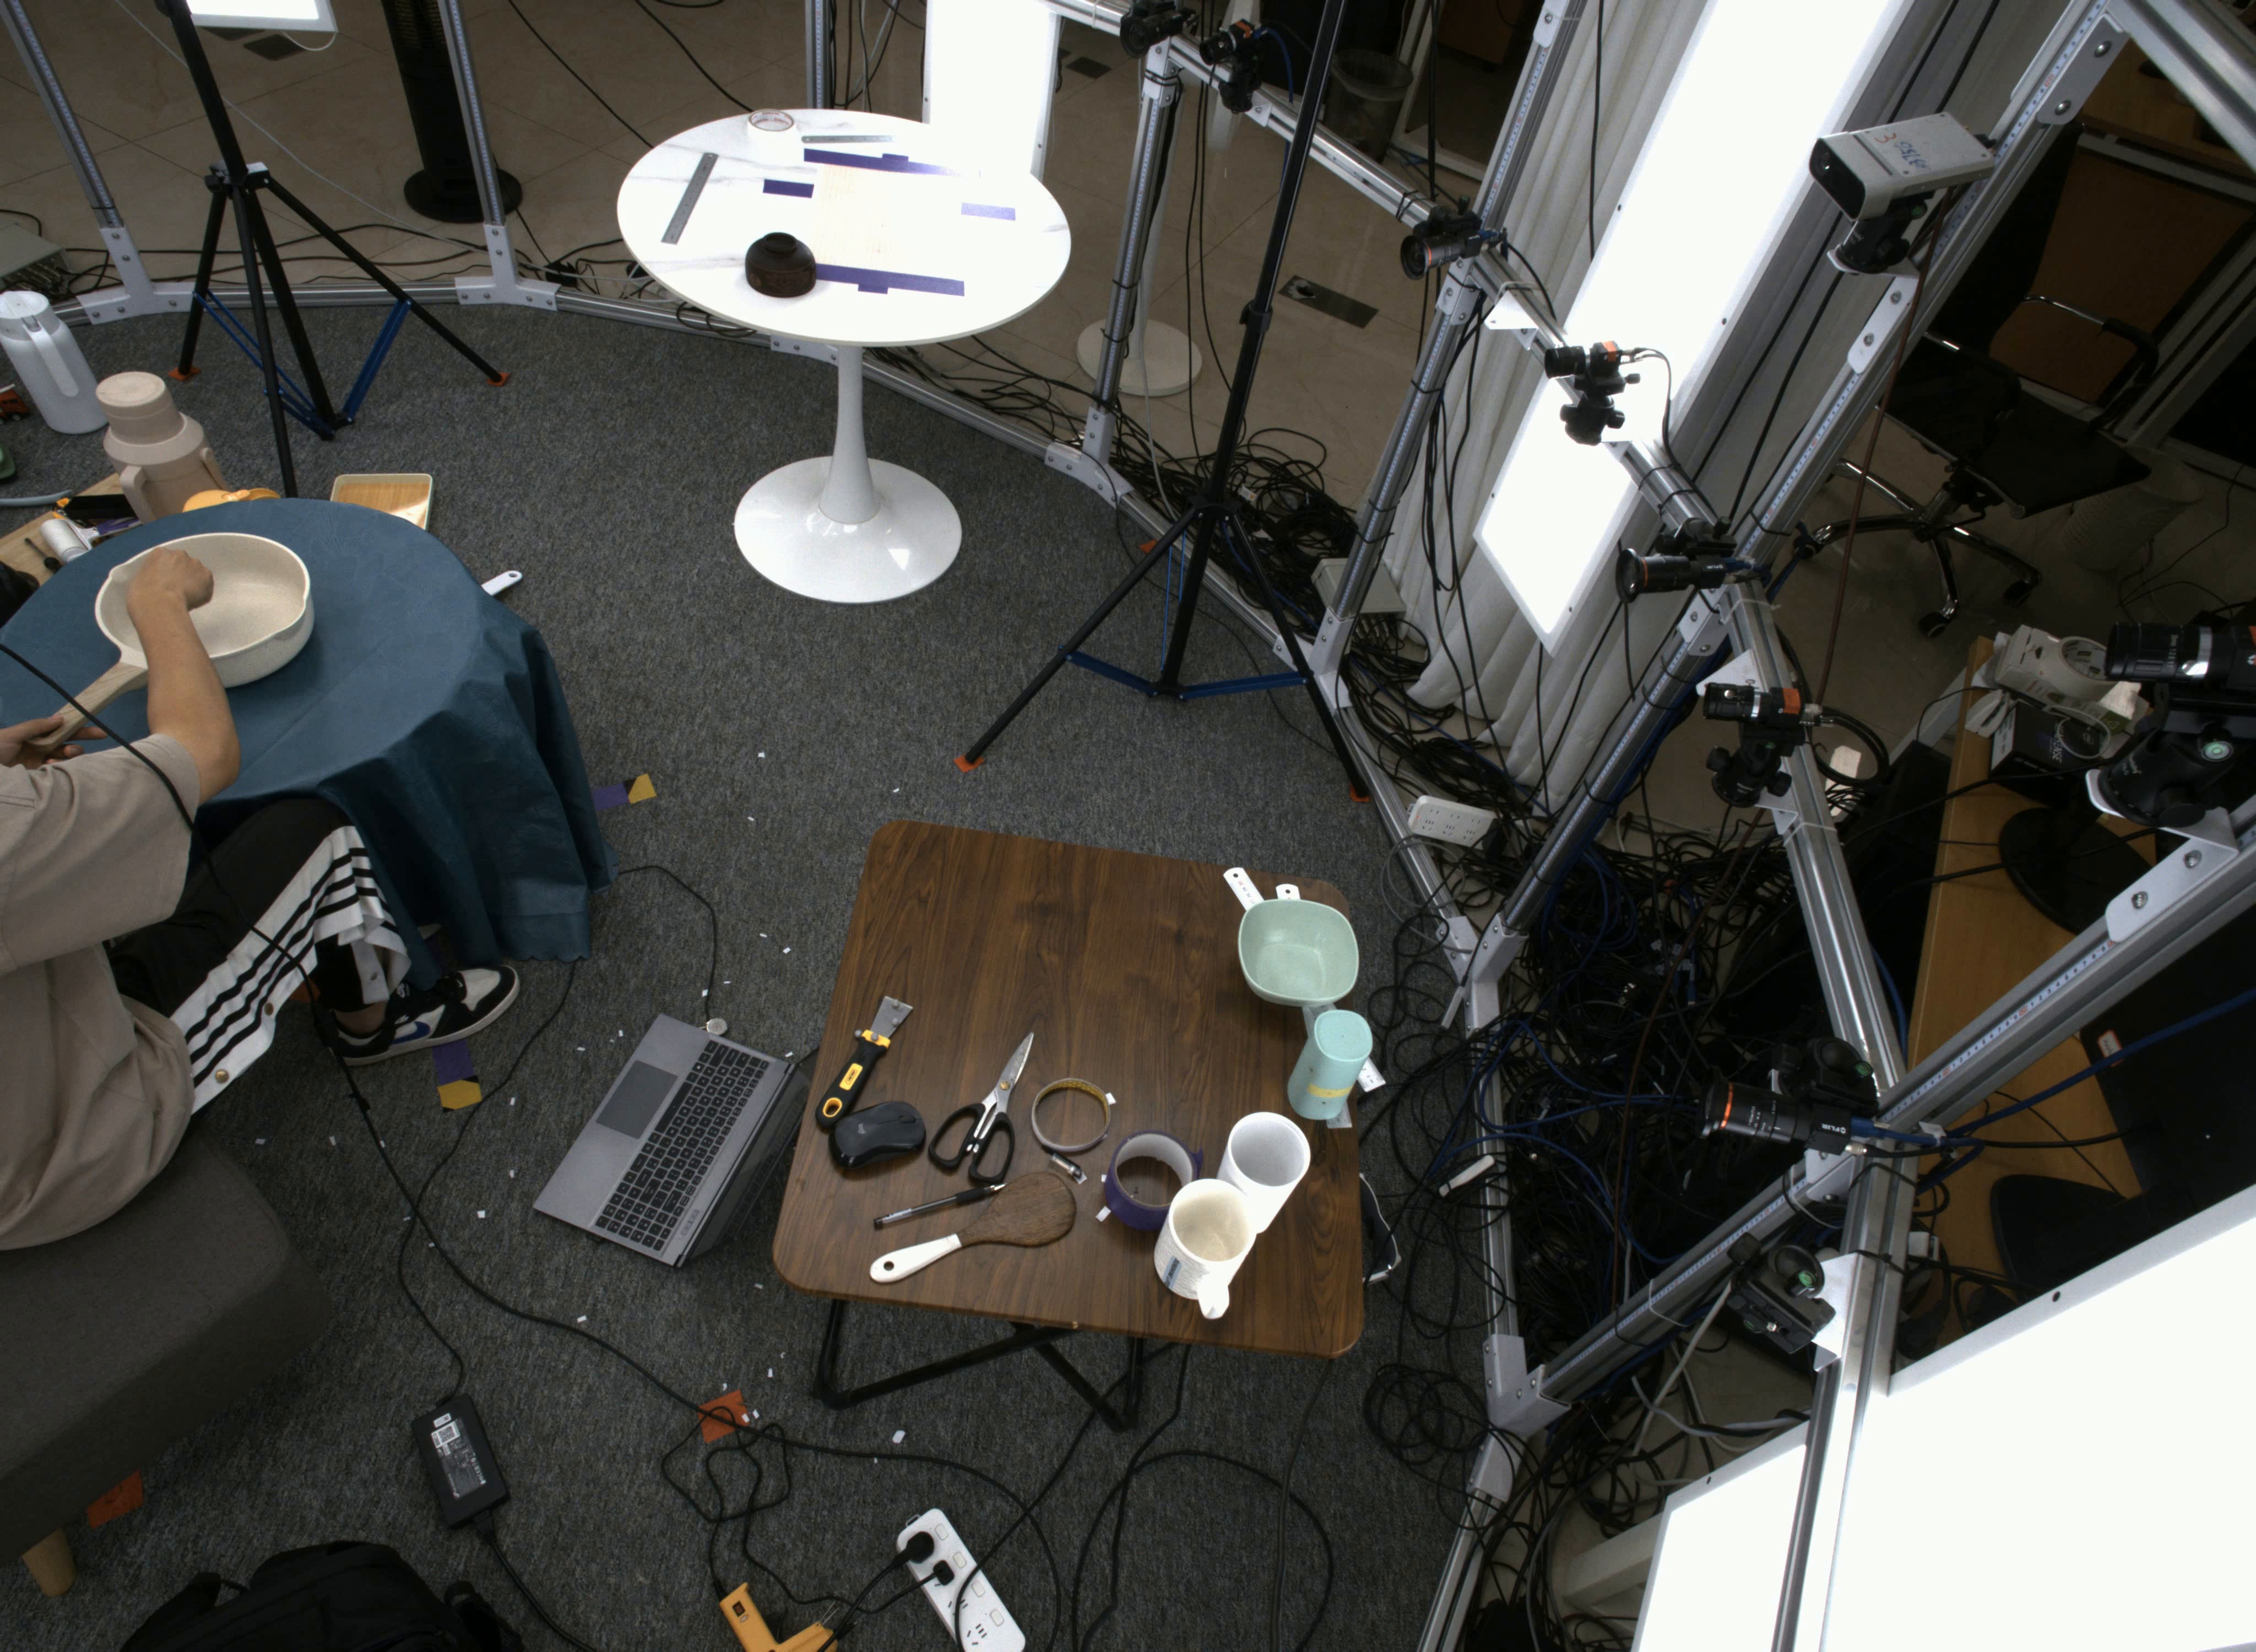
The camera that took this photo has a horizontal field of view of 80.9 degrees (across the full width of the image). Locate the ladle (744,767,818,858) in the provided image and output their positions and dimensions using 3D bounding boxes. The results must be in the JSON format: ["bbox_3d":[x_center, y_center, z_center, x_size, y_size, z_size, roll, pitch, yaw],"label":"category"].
[{"bbox_3d":[-0.411,-0.022,1.548,0.082,0.267,0.079,-37,108,-11],"label":"ladle"}]

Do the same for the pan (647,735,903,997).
[{"bbox_3d":[-0.455,0.063,1.617,0.260,0.104,0.432,27,53,6],"label":"pan"}]
